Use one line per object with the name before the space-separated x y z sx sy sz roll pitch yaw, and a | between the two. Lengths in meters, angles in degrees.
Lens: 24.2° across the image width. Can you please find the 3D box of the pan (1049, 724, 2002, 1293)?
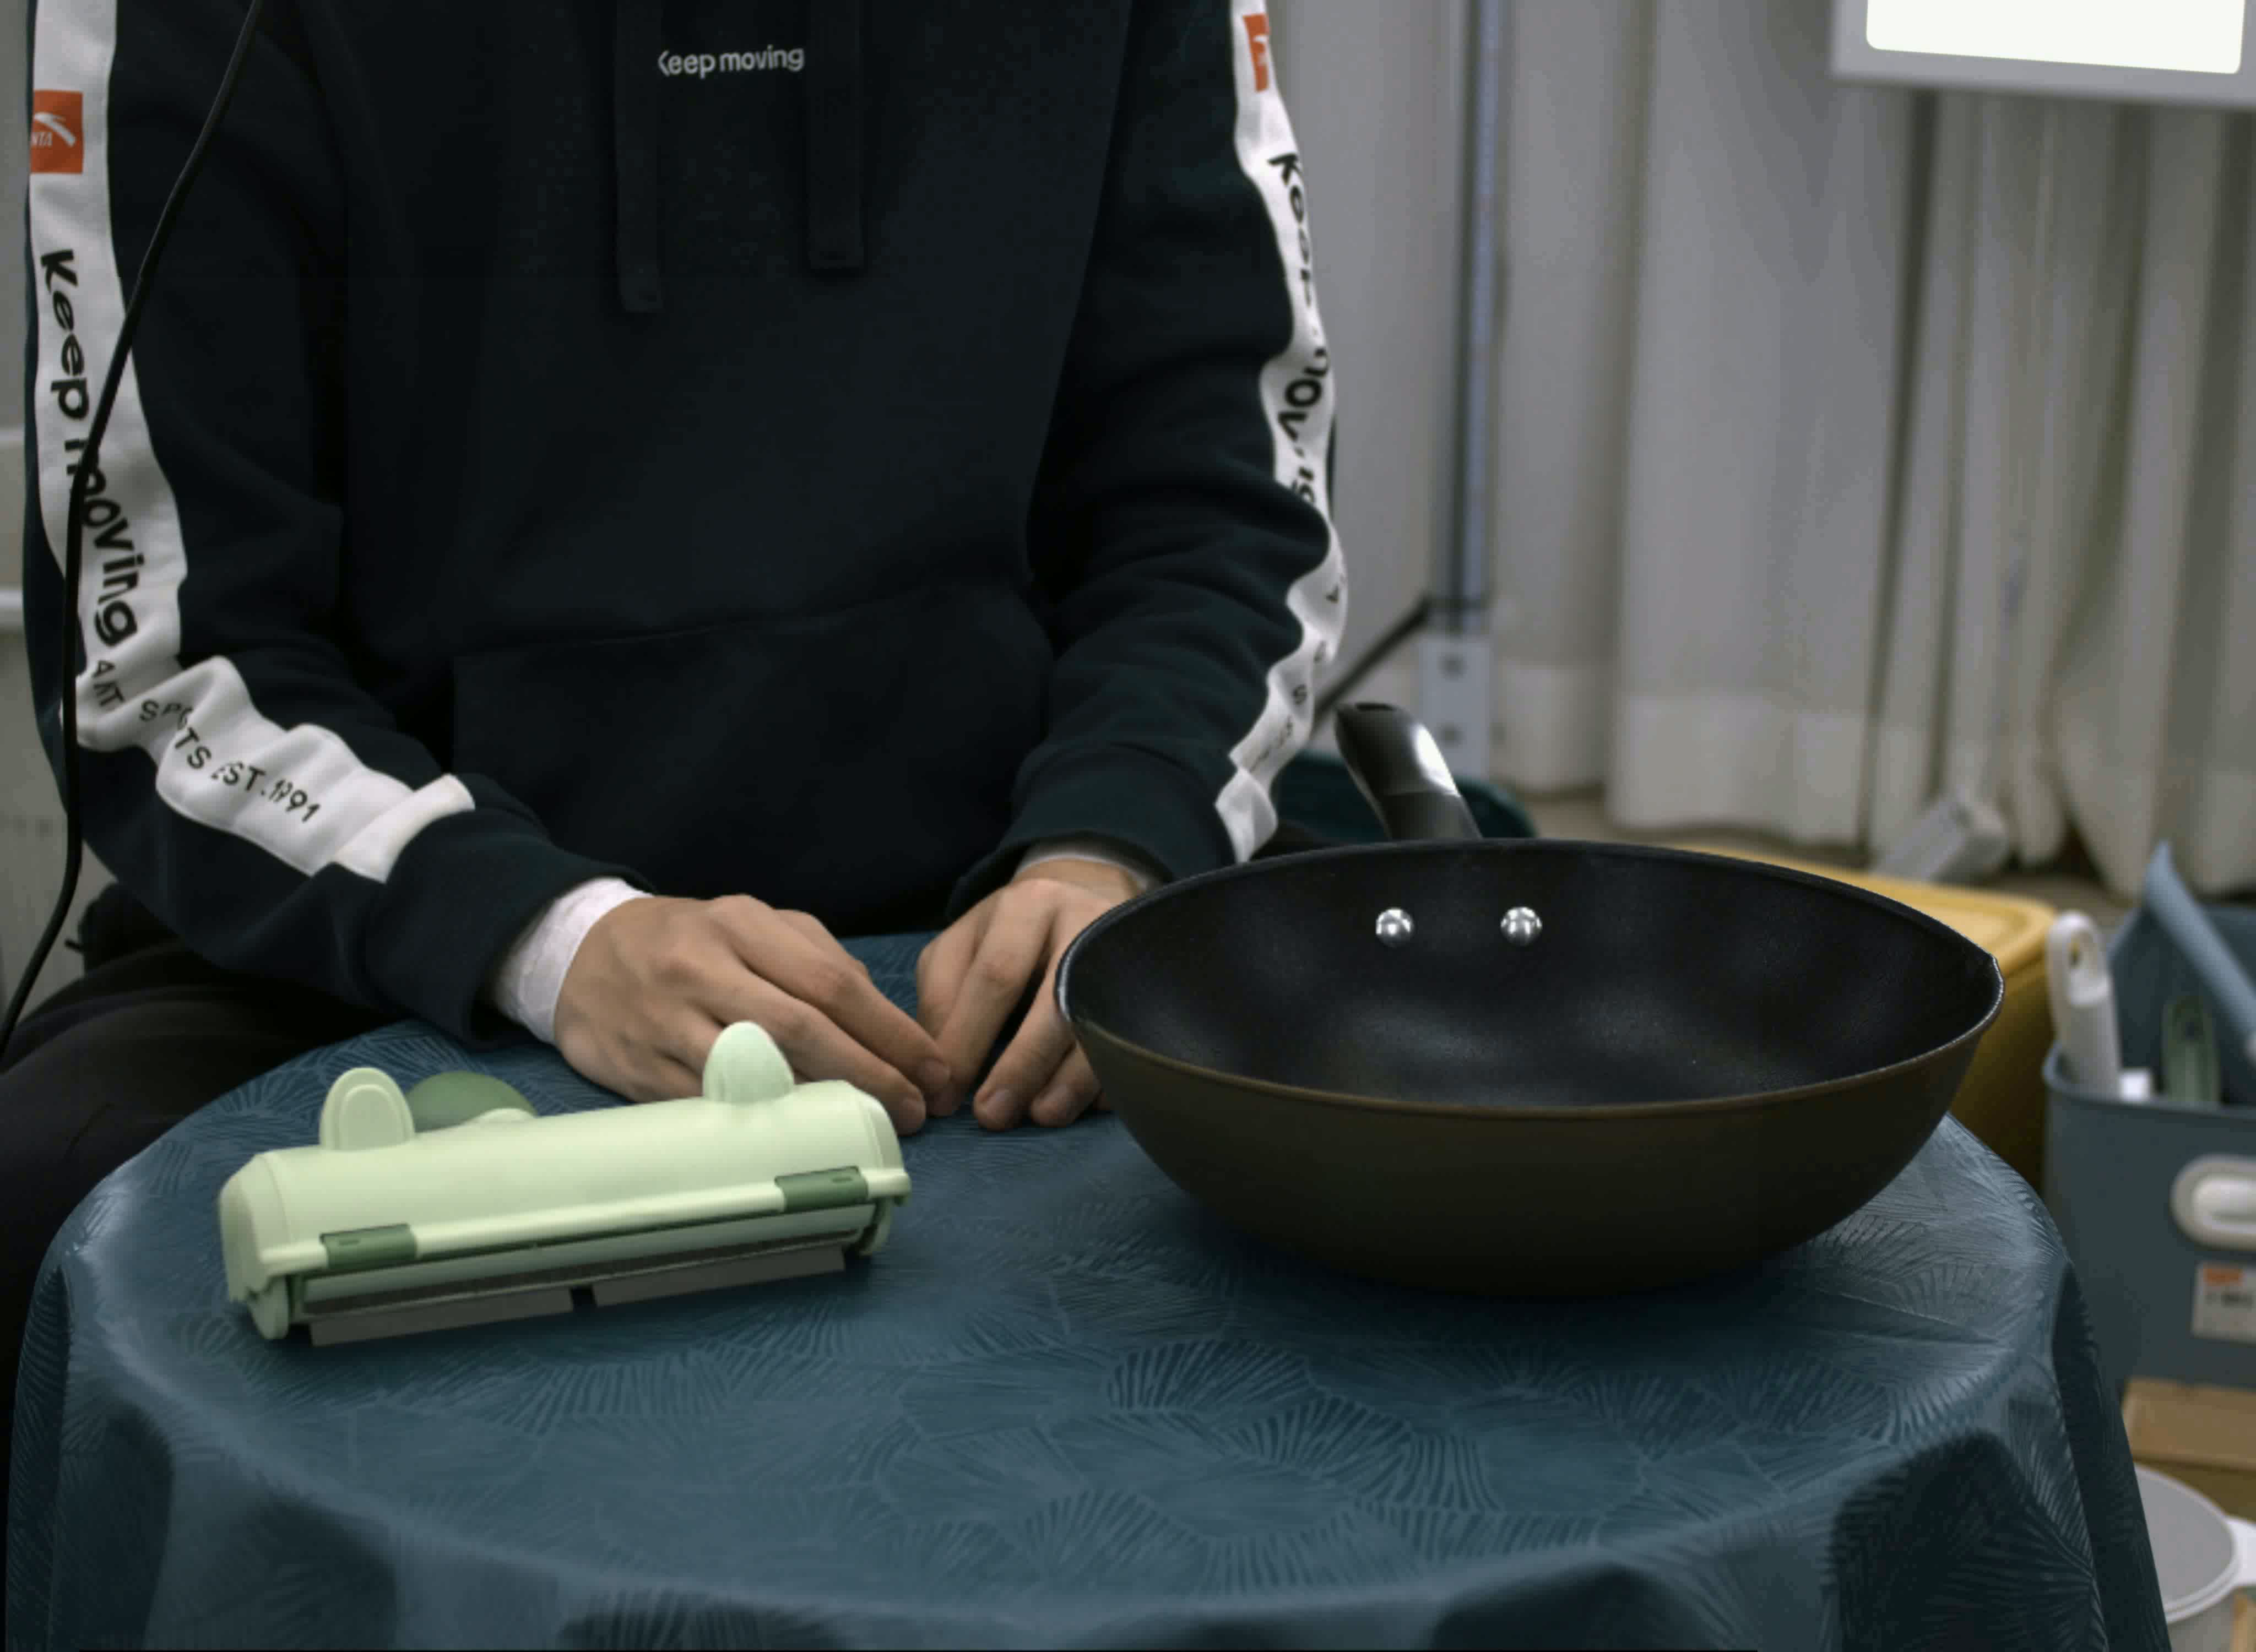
pan | 0.108 0.055 1.673 0.288 0.087 0.460 -1 14 -7

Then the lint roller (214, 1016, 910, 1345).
lint roller | -0.184 0.086 1.569 0.199 0.083 0.181 -6 22 -22
